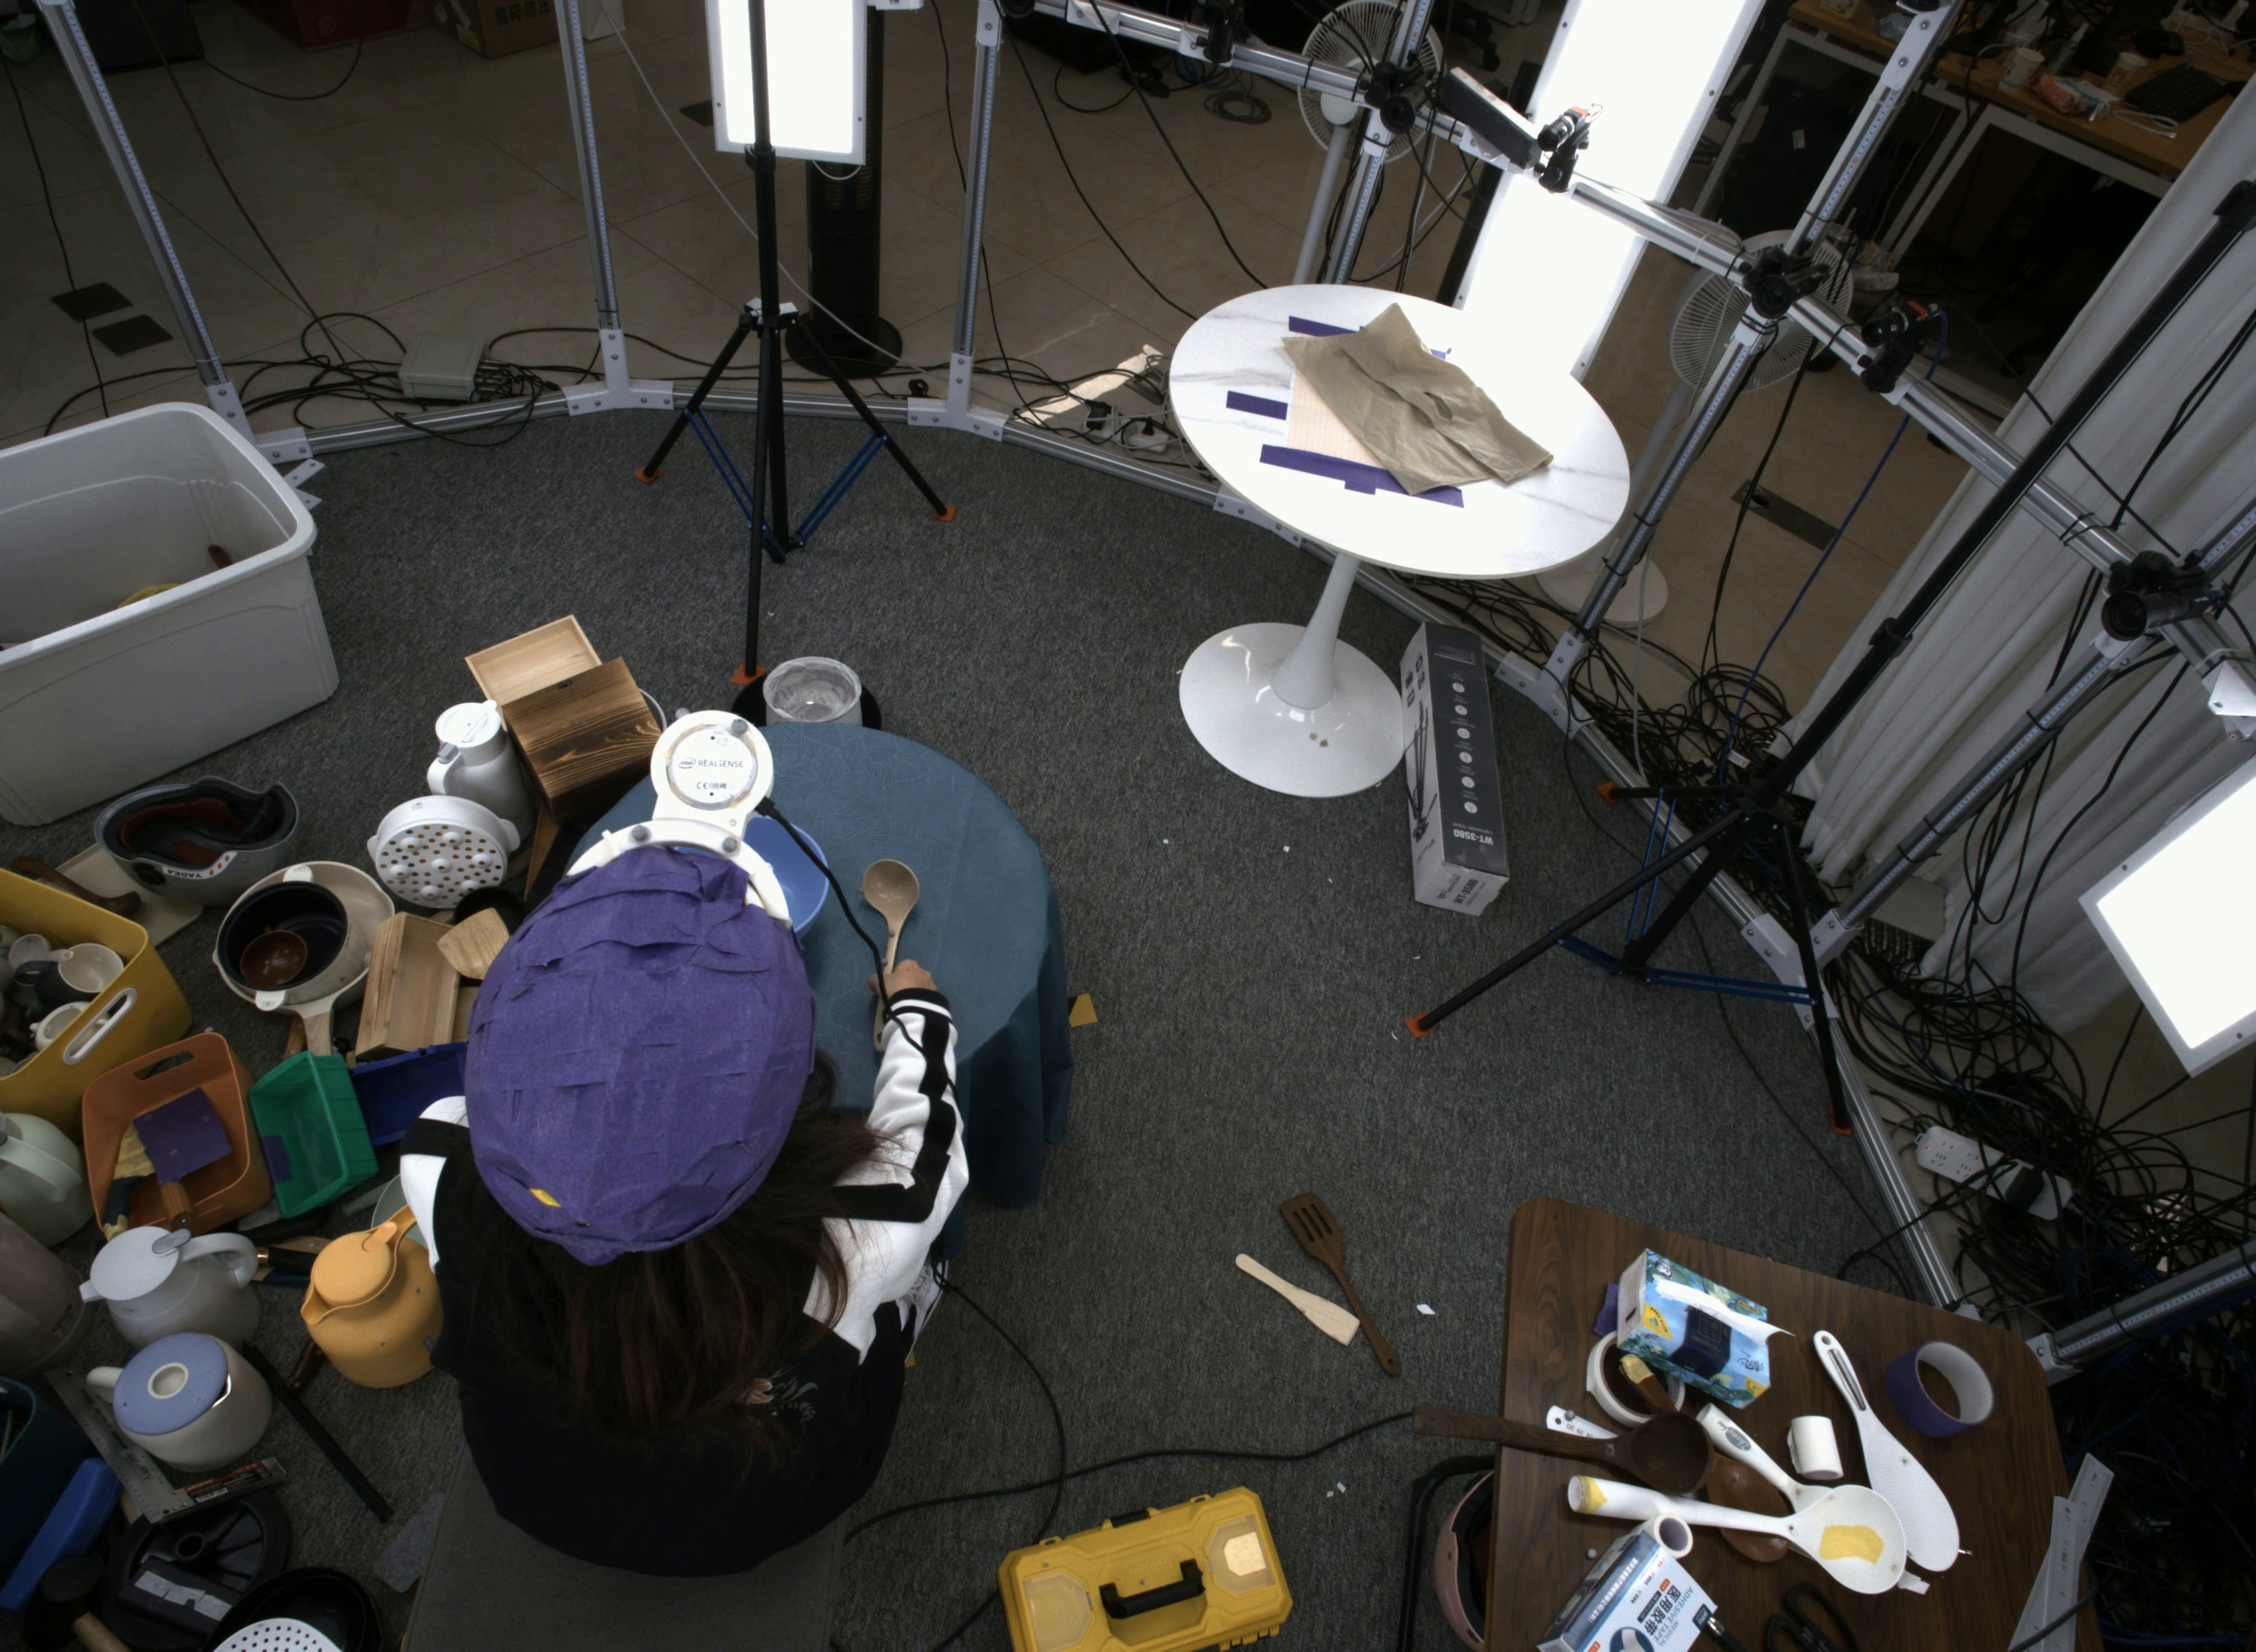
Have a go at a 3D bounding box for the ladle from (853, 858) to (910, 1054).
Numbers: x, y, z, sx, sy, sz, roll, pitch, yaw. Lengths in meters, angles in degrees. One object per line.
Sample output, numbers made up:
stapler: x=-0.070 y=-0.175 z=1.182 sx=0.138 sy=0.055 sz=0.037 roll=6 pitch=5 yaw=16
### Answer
ladle: x=-0.306 y=0.148 z=1.582 sx=0.071 sy=0.075 sz=0.248 roll=-8 pitch=49 yaw=2

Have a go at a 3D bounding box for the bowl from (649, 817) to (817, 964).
bowl: x=-0.476 y=0.092 z=1.573 sx=0.196 sy=0.097 sz=0.193 roll=8 pitch=49 yaw=-7
